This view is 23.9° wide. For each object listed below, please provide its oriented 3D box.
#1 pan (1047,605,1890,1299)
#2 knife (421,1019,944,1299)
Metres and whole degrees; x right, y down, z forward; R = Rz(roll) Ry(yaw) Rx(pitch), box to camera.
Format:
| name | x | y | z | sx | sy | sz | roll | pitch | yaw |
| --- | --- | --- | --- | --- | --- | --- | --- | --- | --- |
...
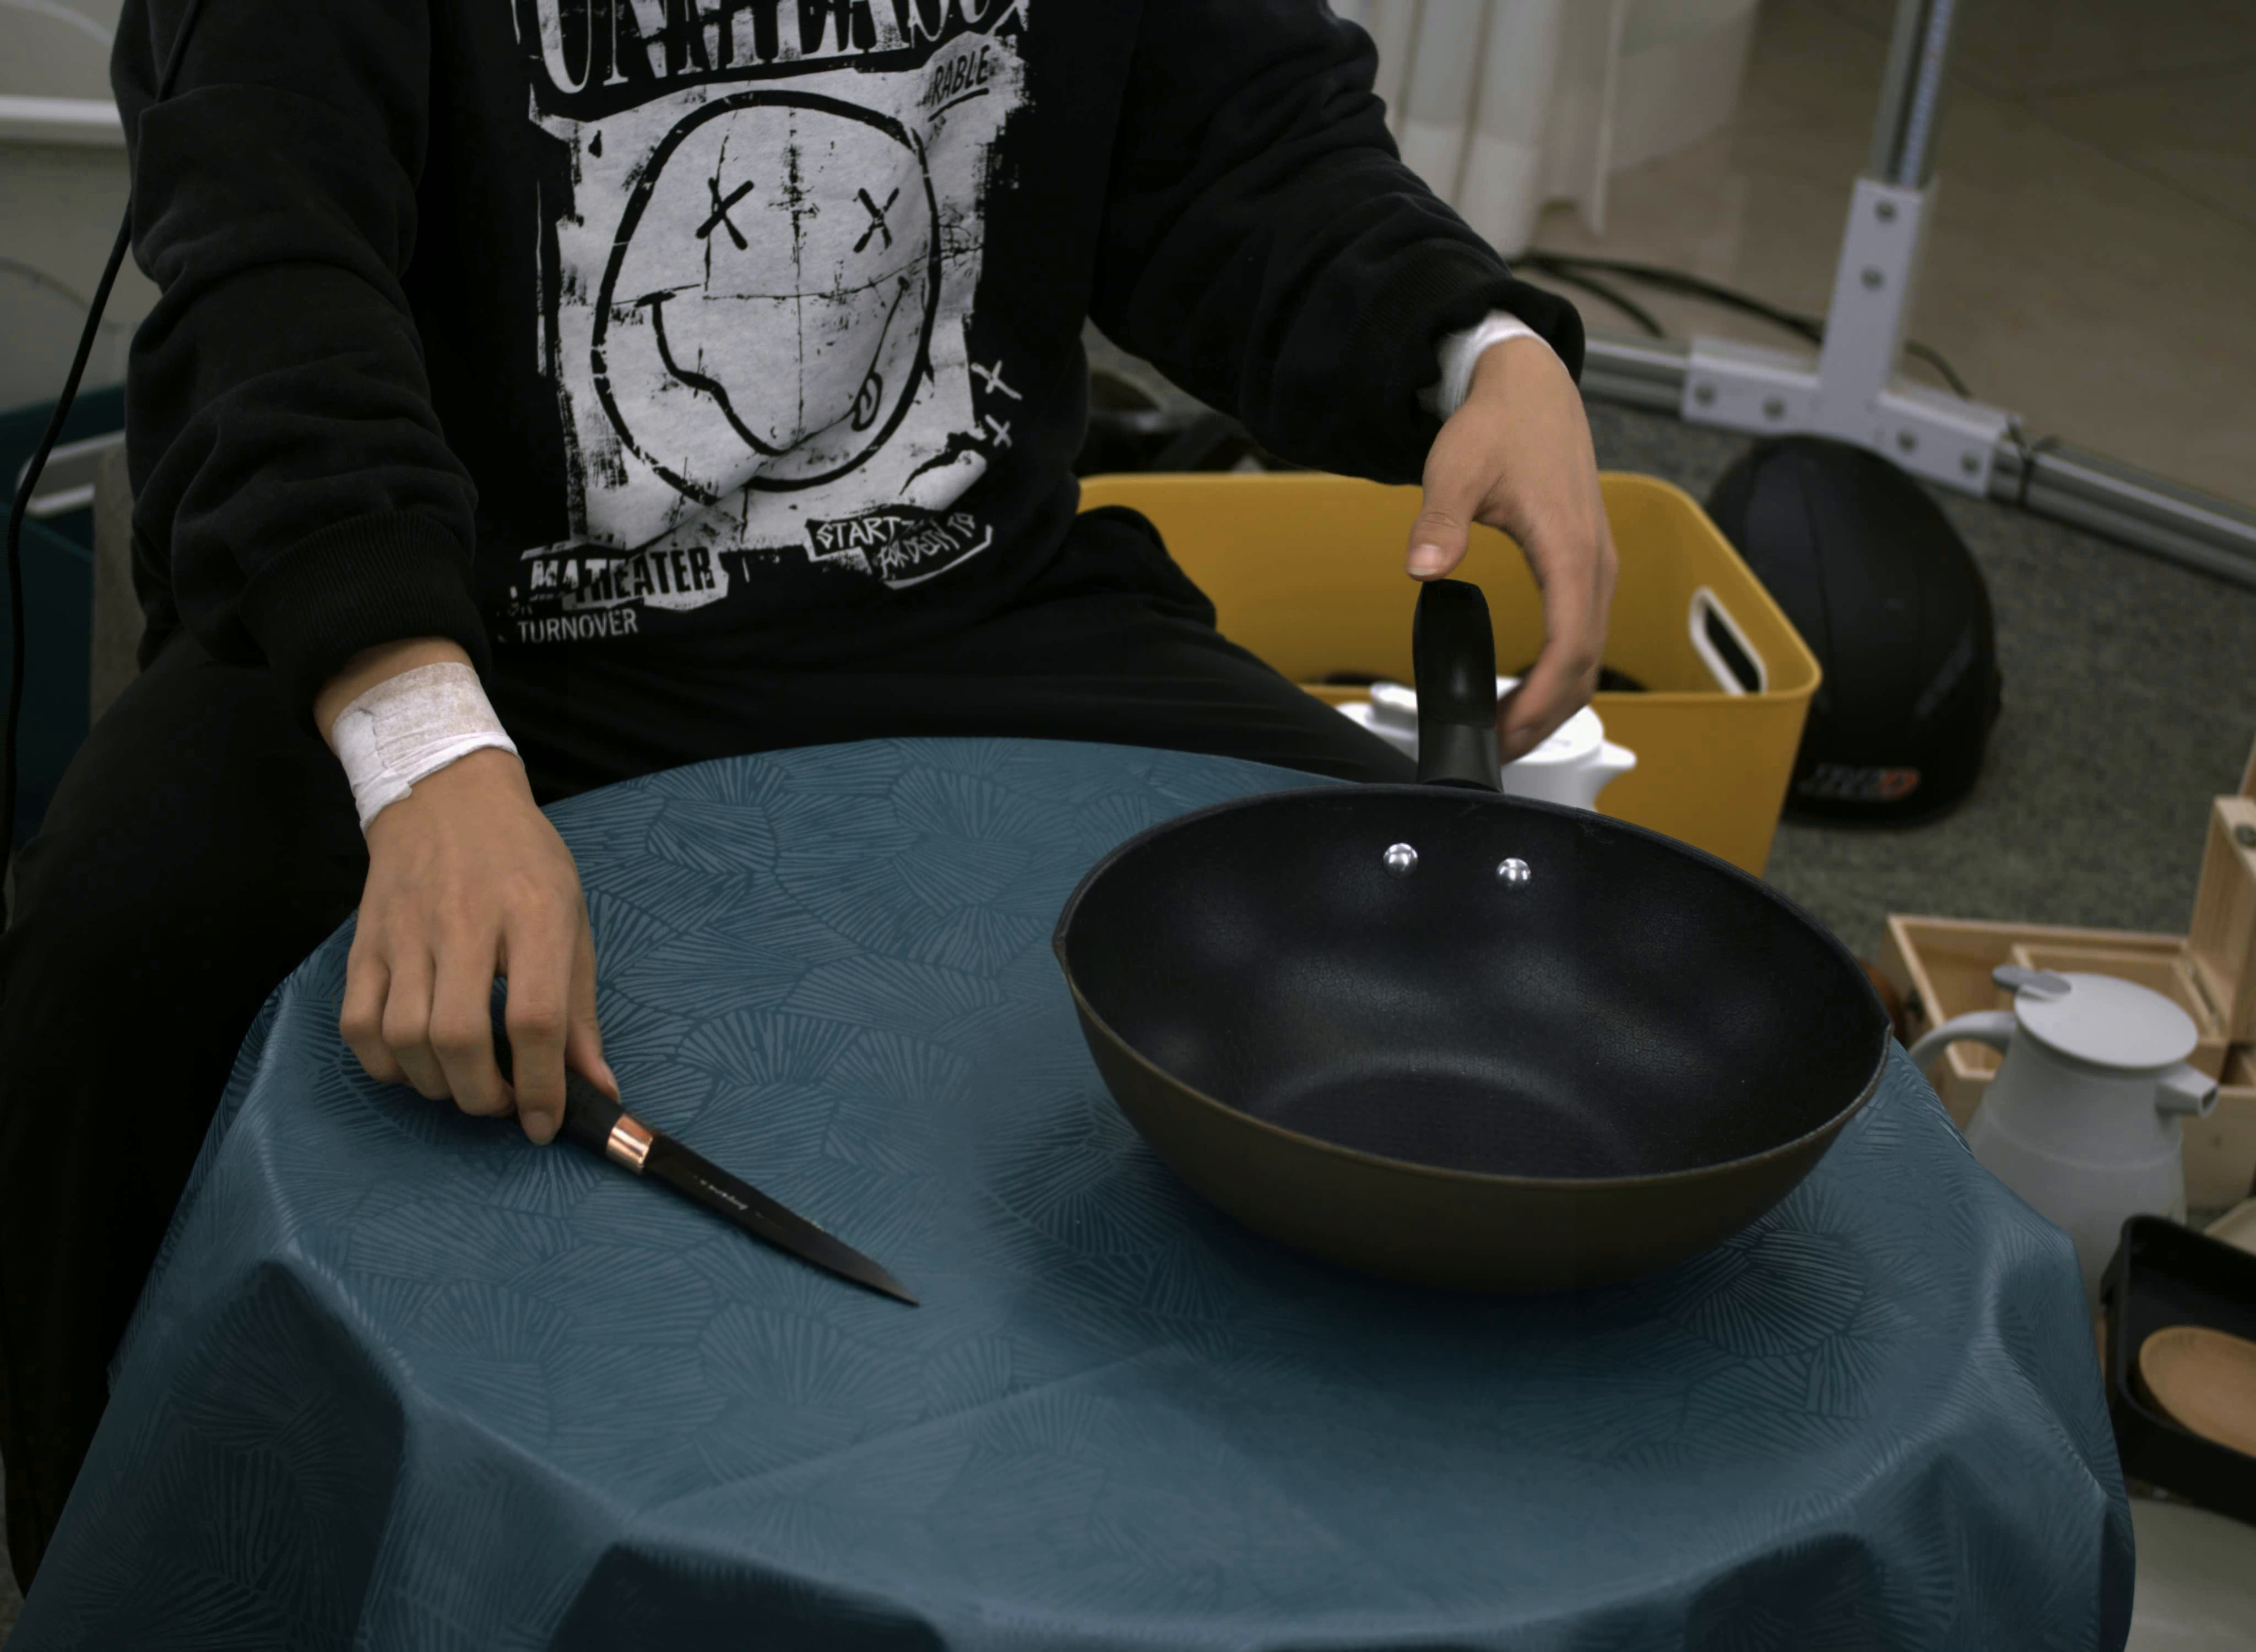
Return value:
| name | x | y | z | sx | sy | sz | roll | pitch | yaw |
| --- | --- | --- | --- | --- | --- | --- | --- | --- | --- |
| pan | 0.115 | 0.045 | 1.897 | 0.287 | 0.086 | 0.466 | 6 | 26 | -1 |
| knife | -0.152 | 0.112 | 1.784 | 0.227 | 0.017 | 0.026 | 25 | 19 | 31 |
